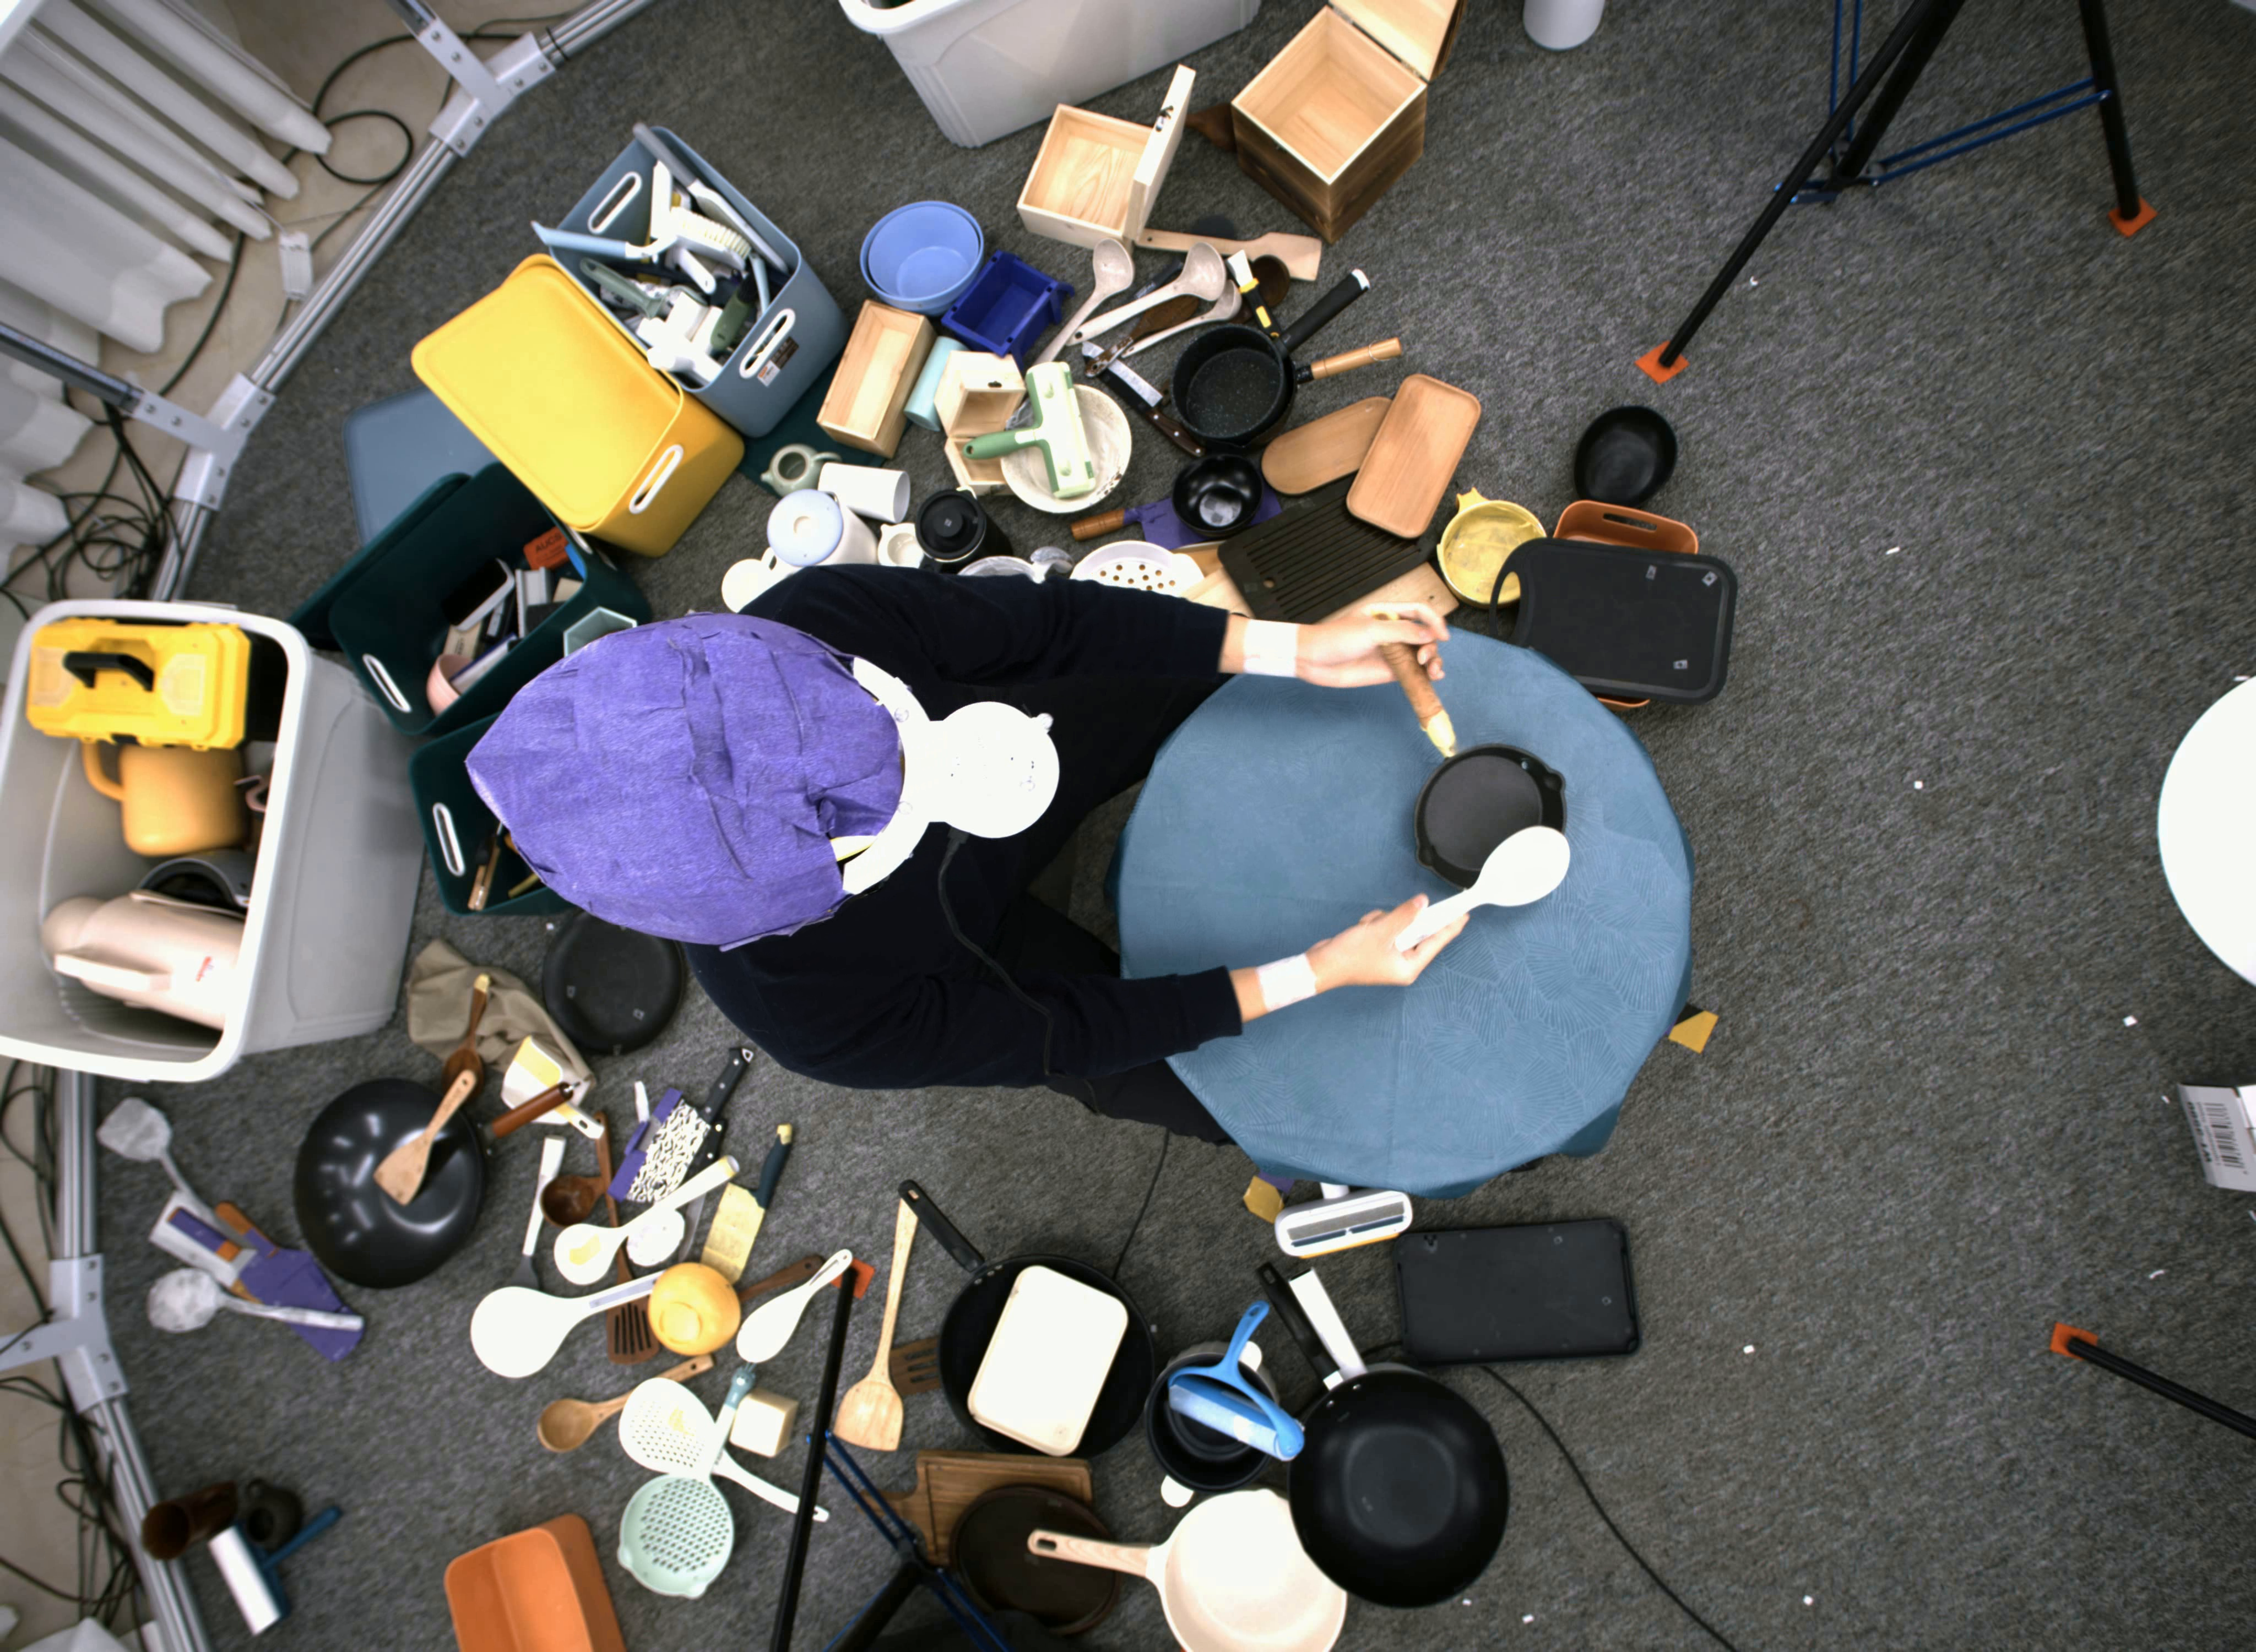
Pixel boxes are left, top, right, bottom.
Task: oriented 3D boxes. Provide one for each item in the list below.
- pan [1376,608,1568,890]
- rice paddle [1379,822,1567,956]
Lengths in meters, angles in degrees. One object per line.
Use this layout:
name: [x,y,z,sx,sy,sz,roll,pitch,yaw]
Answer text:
pan: [0.327,-0.081,1.375,0.170,0.049,0.327,-28,107,8]
rice paddle: [0.344,0.061,1.359,0.206,0.029,0.069,-31,106,6]
